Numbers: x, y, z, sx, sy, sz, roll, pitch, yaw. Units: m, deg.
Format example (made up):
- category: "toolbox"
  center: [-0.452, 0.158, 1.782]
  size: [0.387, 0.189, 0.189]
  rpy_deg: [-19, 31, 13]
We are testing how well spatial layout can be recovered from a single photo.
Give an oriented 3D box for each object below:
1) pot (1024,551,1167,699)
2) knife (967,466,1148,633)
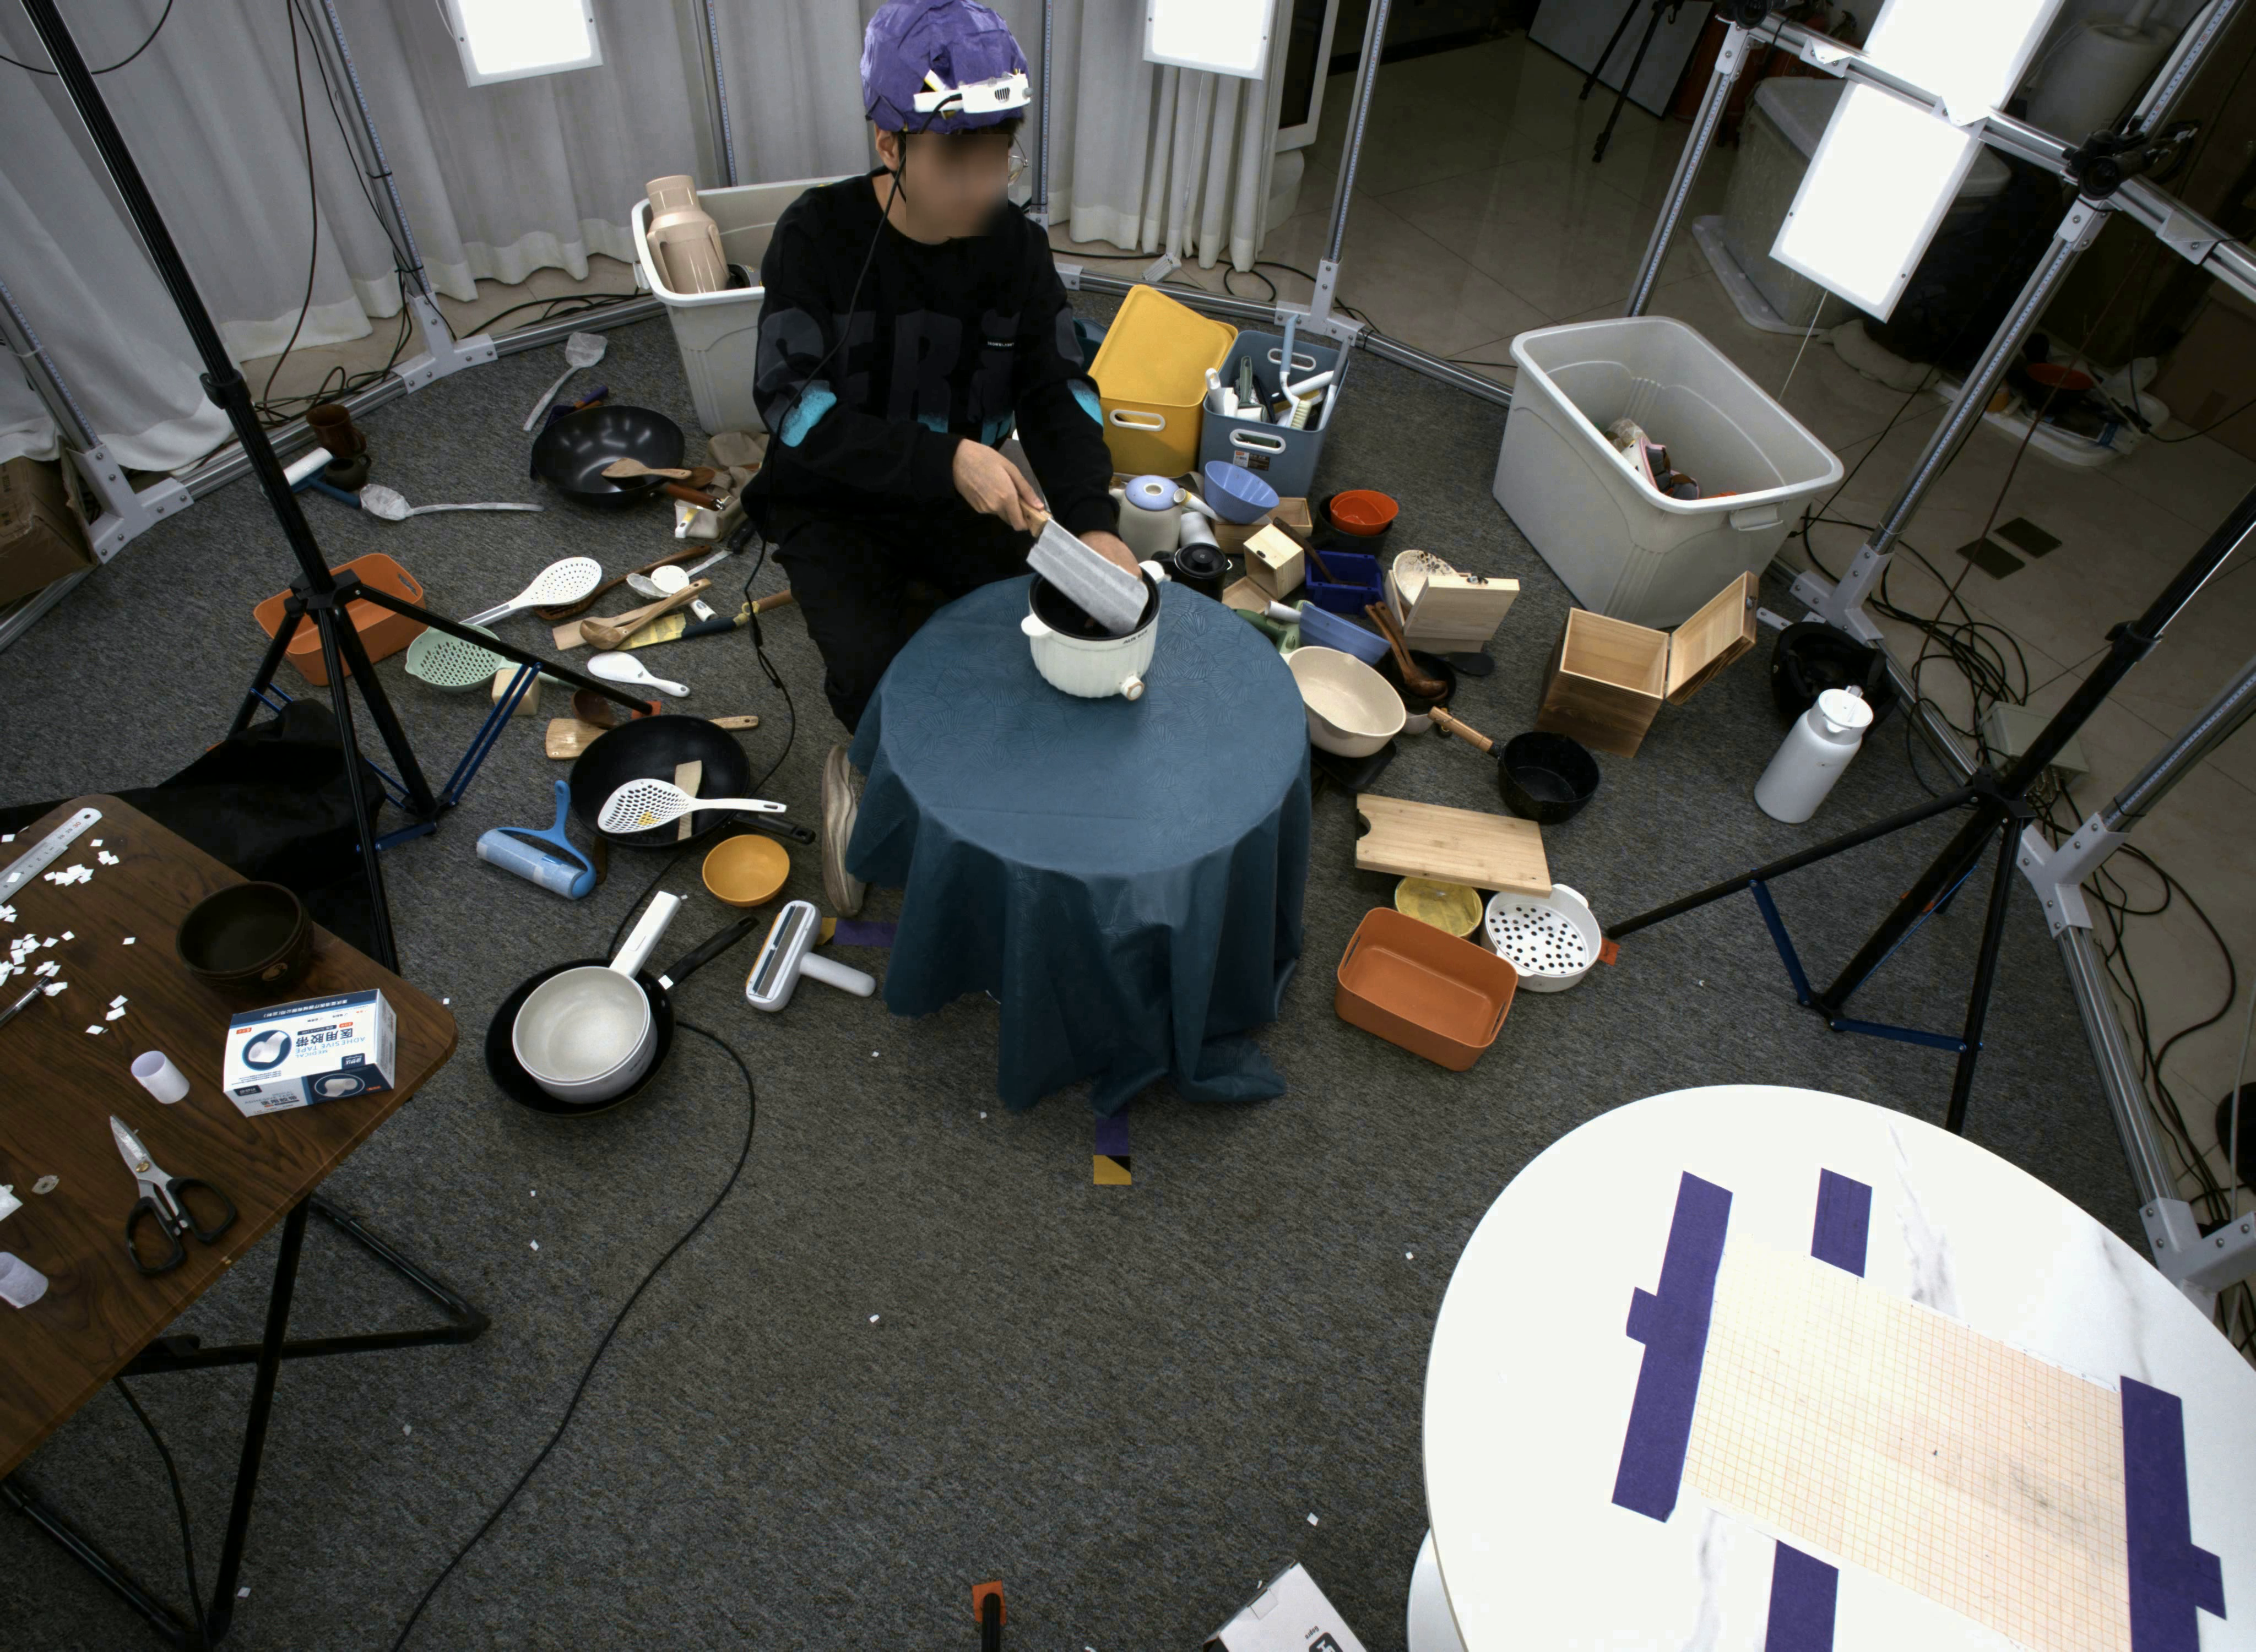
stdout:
- category: "pot"
  center: [-0.041, -0.274, 1.814]
  size: [0.242, 0.139, 0.194]
  rpy_deg: [-31, 54, -25]
- category: "knife"
  center: [-0.097, -0.377, 1.746]
  size: [0.317, 0.112, 0.022]
  rpy_deg: [42, 46, 6]
